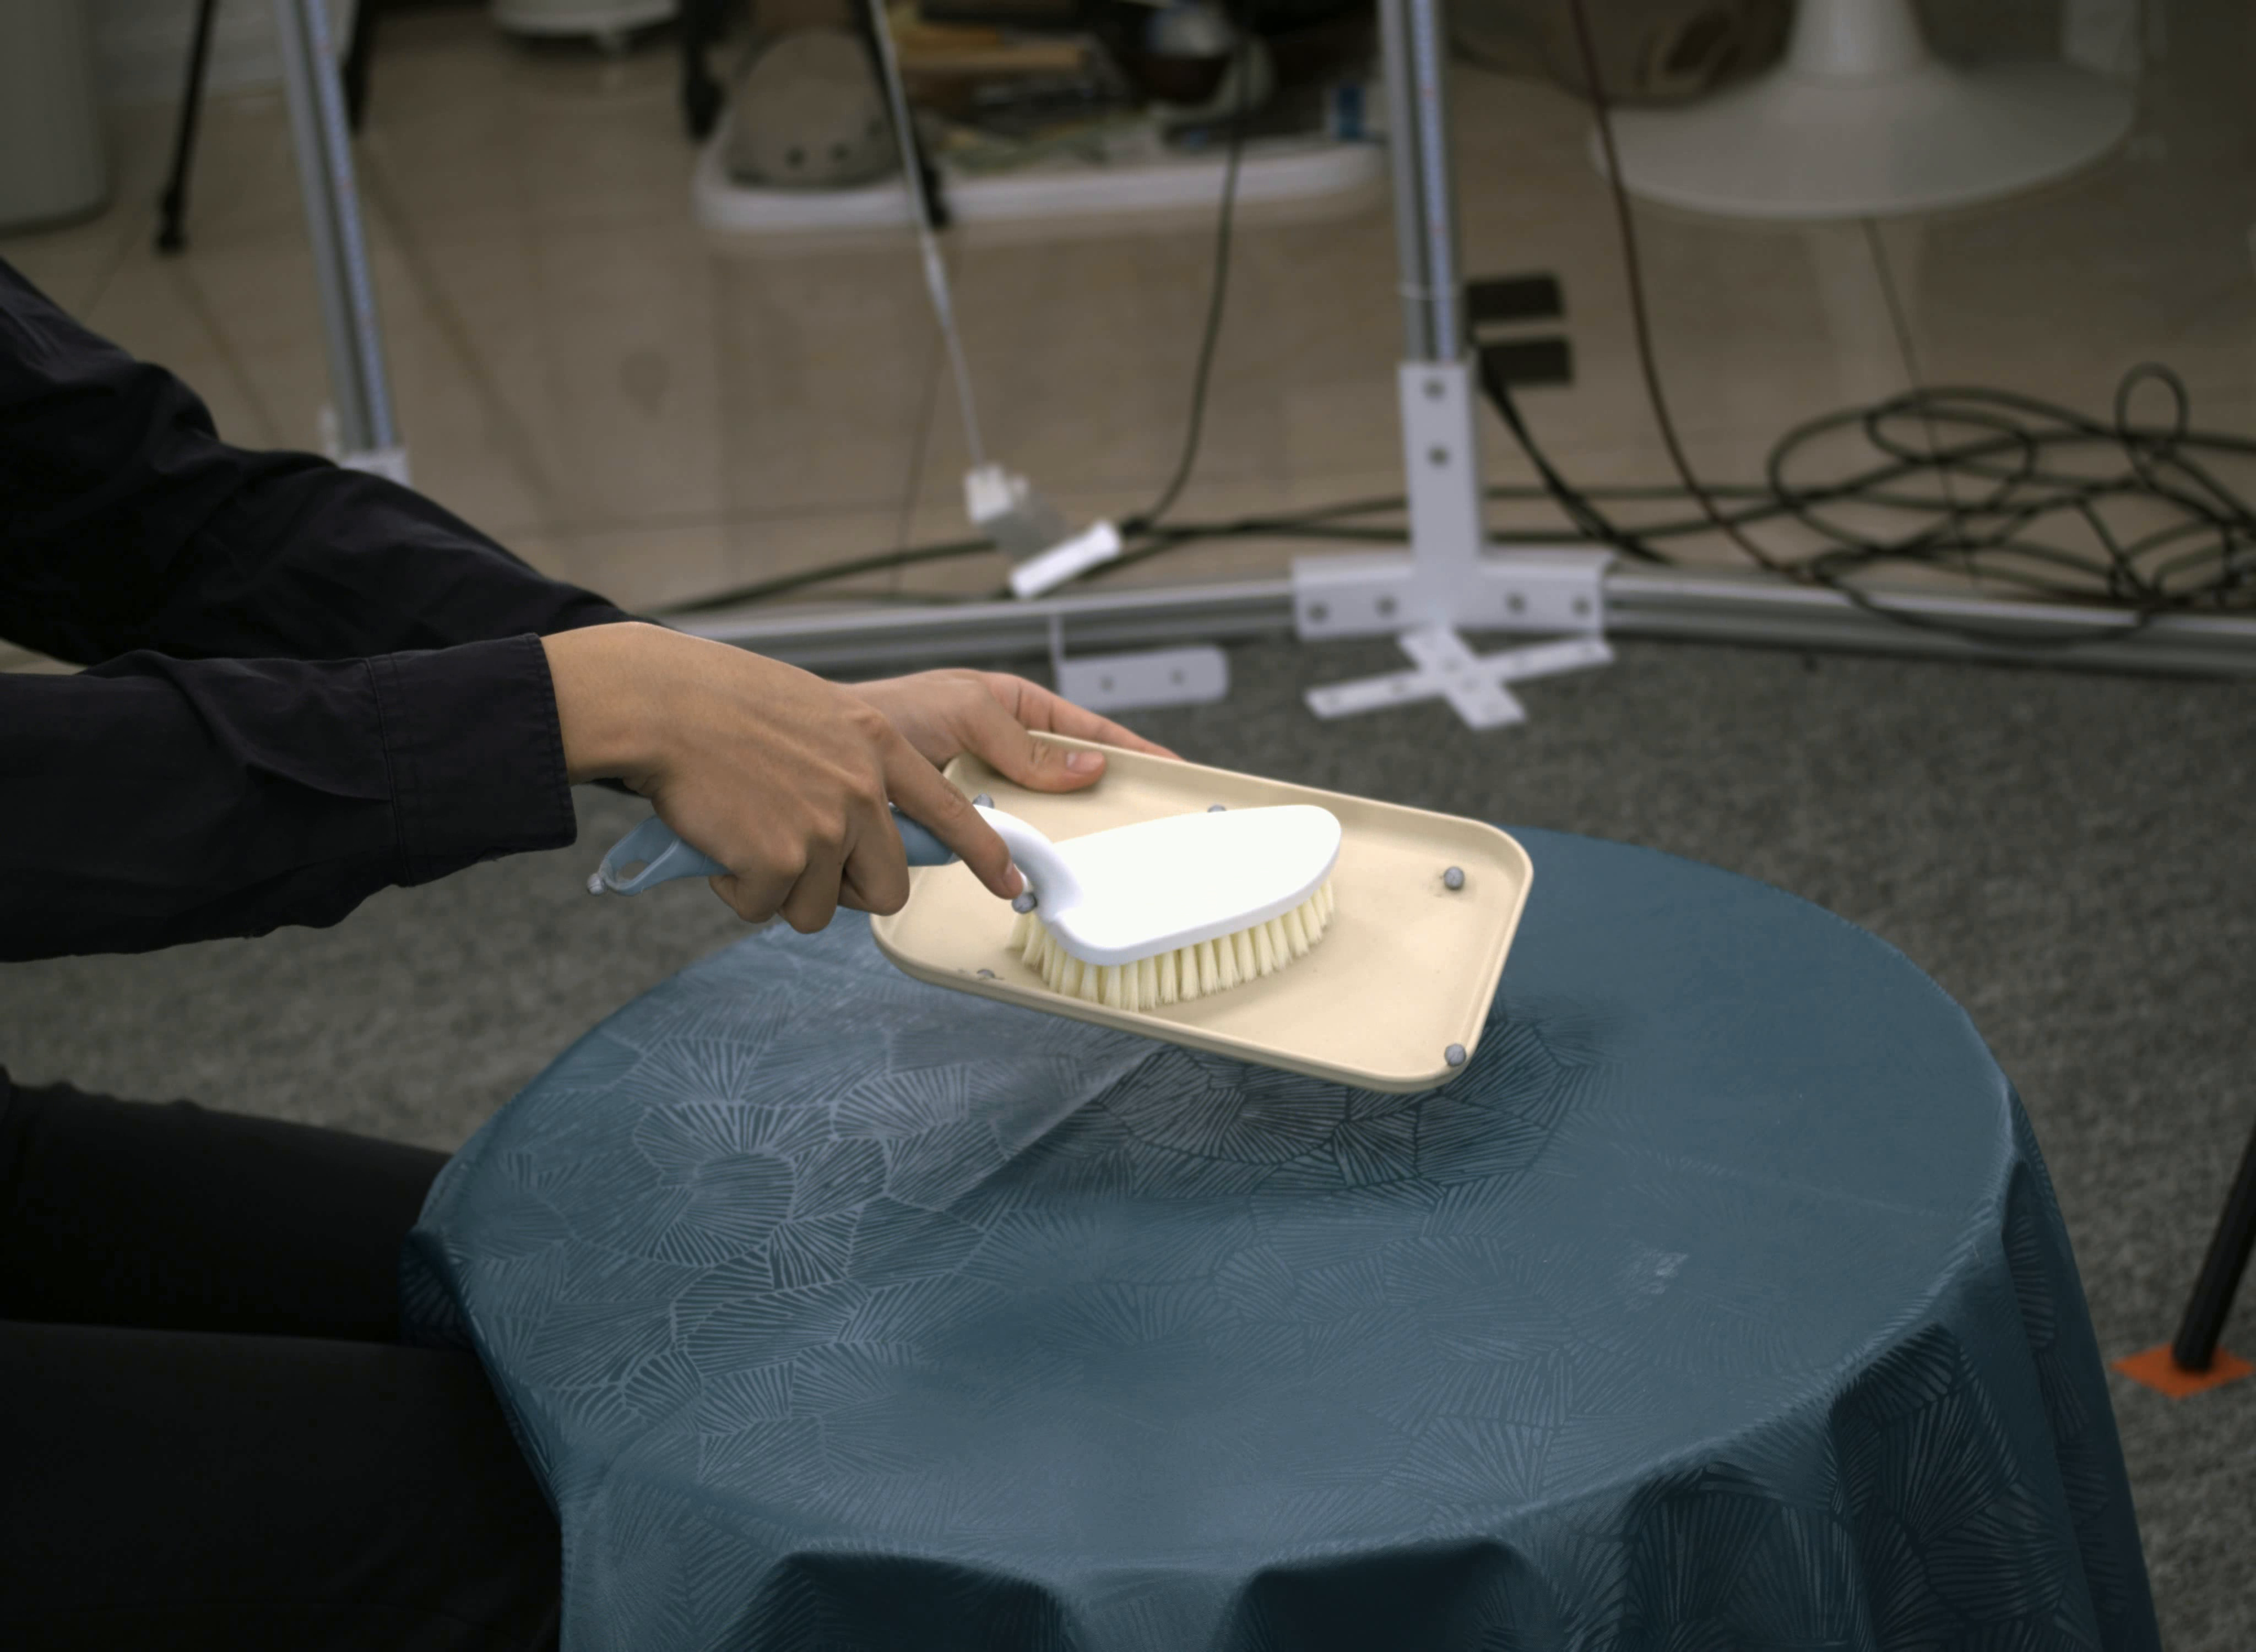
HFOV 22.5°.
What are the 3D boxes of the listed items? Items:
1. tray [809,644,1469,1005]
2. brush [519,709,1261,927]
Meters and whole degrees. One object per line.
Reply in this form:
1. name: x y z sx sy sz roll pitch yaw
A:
1. tray: 0.006 0.000 2.217 0.239 0.018 0.168 13 38 9
2. brush: -0.093 -0.001 2.140 0.325 0.085 0.083 -3 0 -34
